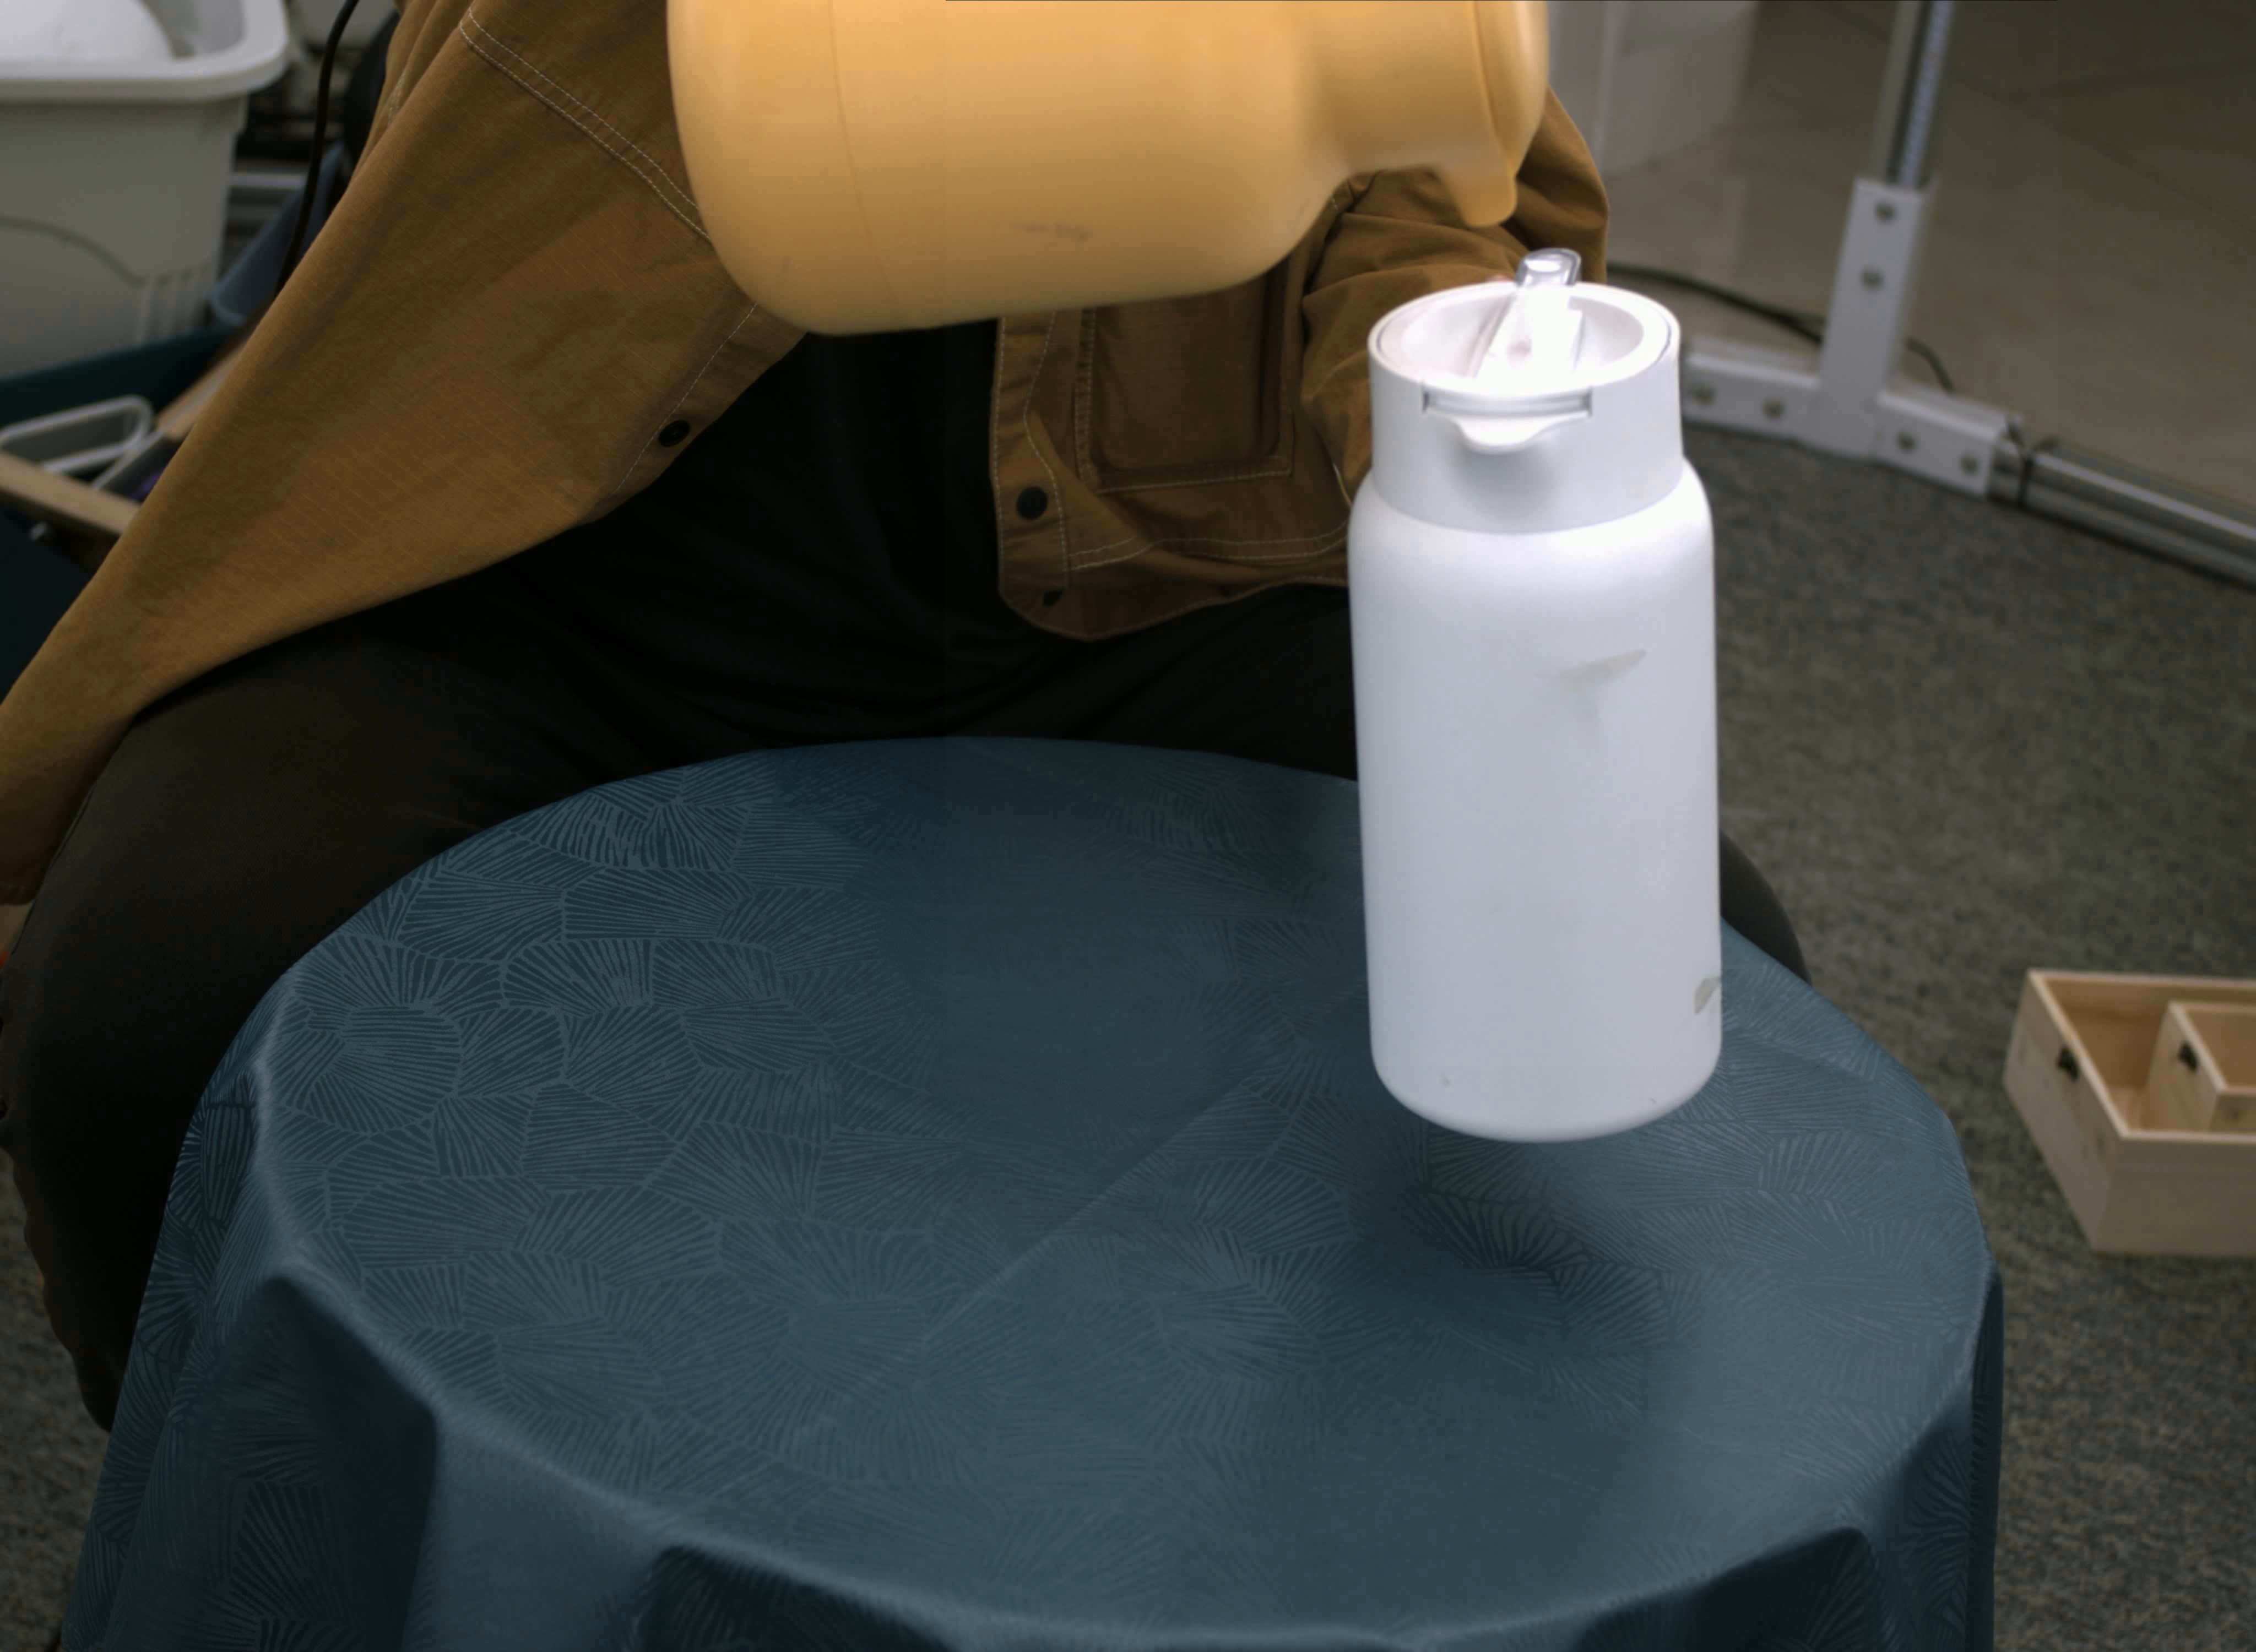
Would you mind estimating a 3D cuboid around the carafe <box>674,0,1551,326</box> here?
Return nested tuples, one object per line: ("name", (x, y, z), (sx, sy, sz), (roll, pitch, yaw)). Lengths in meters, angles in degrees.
("carafe", (-0.004, -0.260, 1.620), (0.260, 0.201, 0.164), (-5, 30, 8))

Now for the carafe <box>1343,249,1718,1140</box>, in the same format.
("carafe", (0.133, -0.046, 1.741), (0.124, 0.268, 0.173), (-1, 25, 12))
